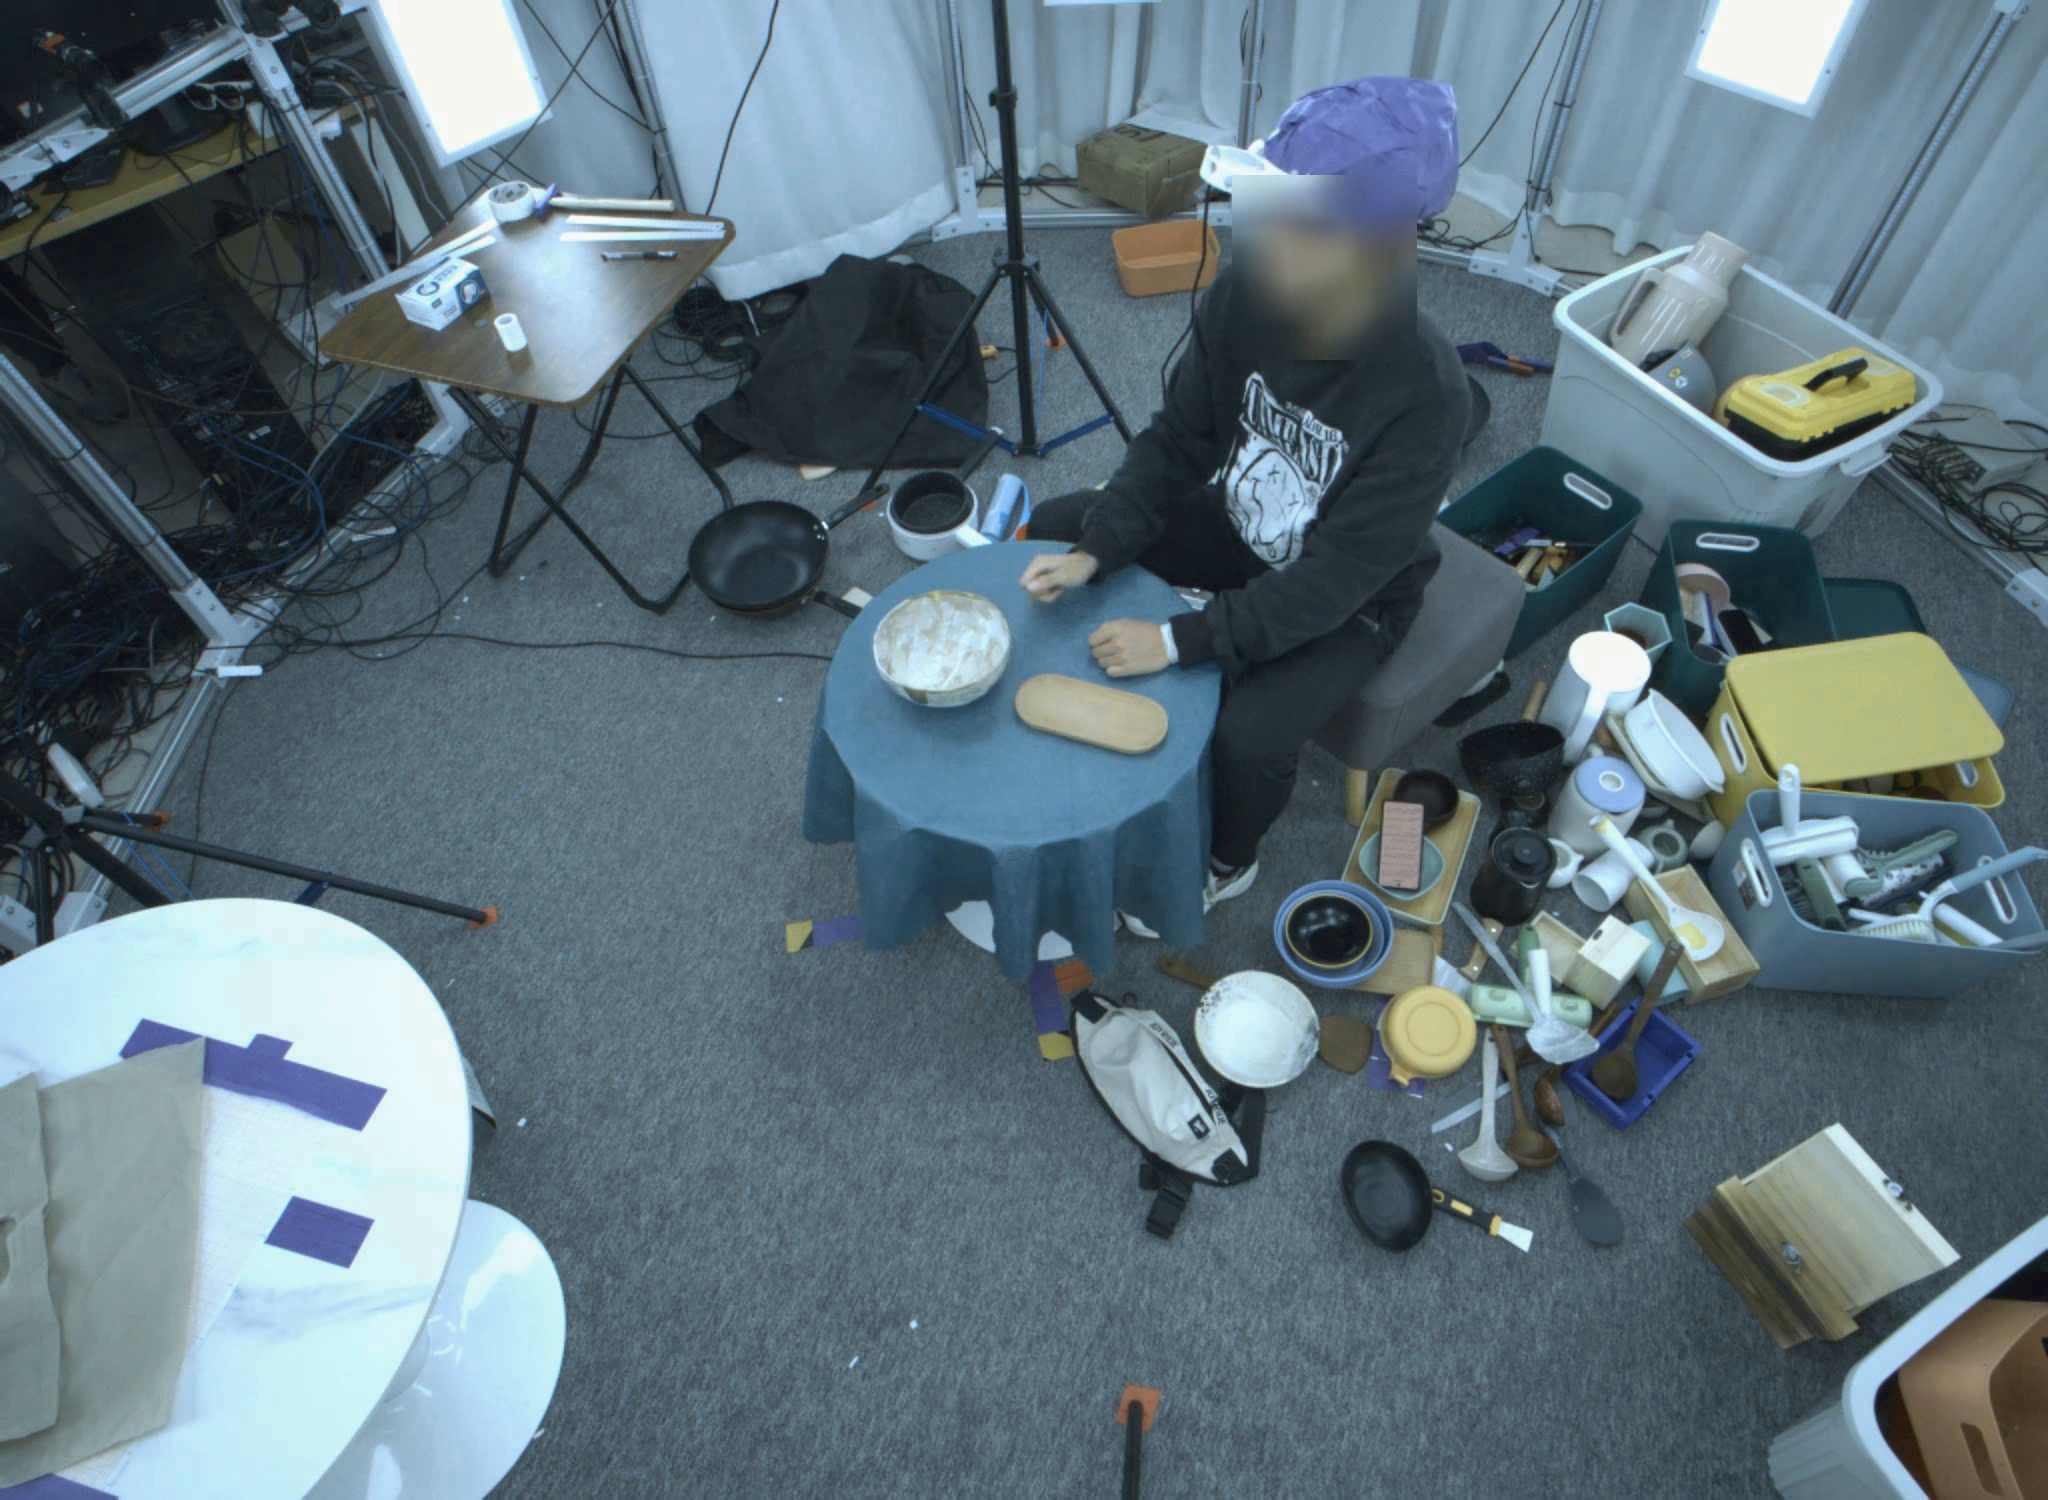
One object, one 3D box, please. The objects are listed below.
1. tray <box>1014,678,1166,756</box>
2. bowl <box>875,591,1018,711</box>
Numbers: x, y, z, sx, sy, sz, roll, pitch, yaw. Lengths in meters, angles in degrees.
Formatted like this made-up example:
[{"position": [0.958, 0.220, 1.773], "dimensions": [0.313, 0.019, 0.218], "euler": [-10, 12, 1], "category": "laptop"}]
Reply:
[{"position": [0.097, -0.049, 1.820], "dimensions": [0.229, 0.020, 0.101], "euler": [14, 54, 13], "category": "tray"}, {"position": [-0.112, -0.131, 1.836], "dimensions": [0.214, 0.095, 0.212], "euler": [-1, 54, 2], "category": "bowl"}]
